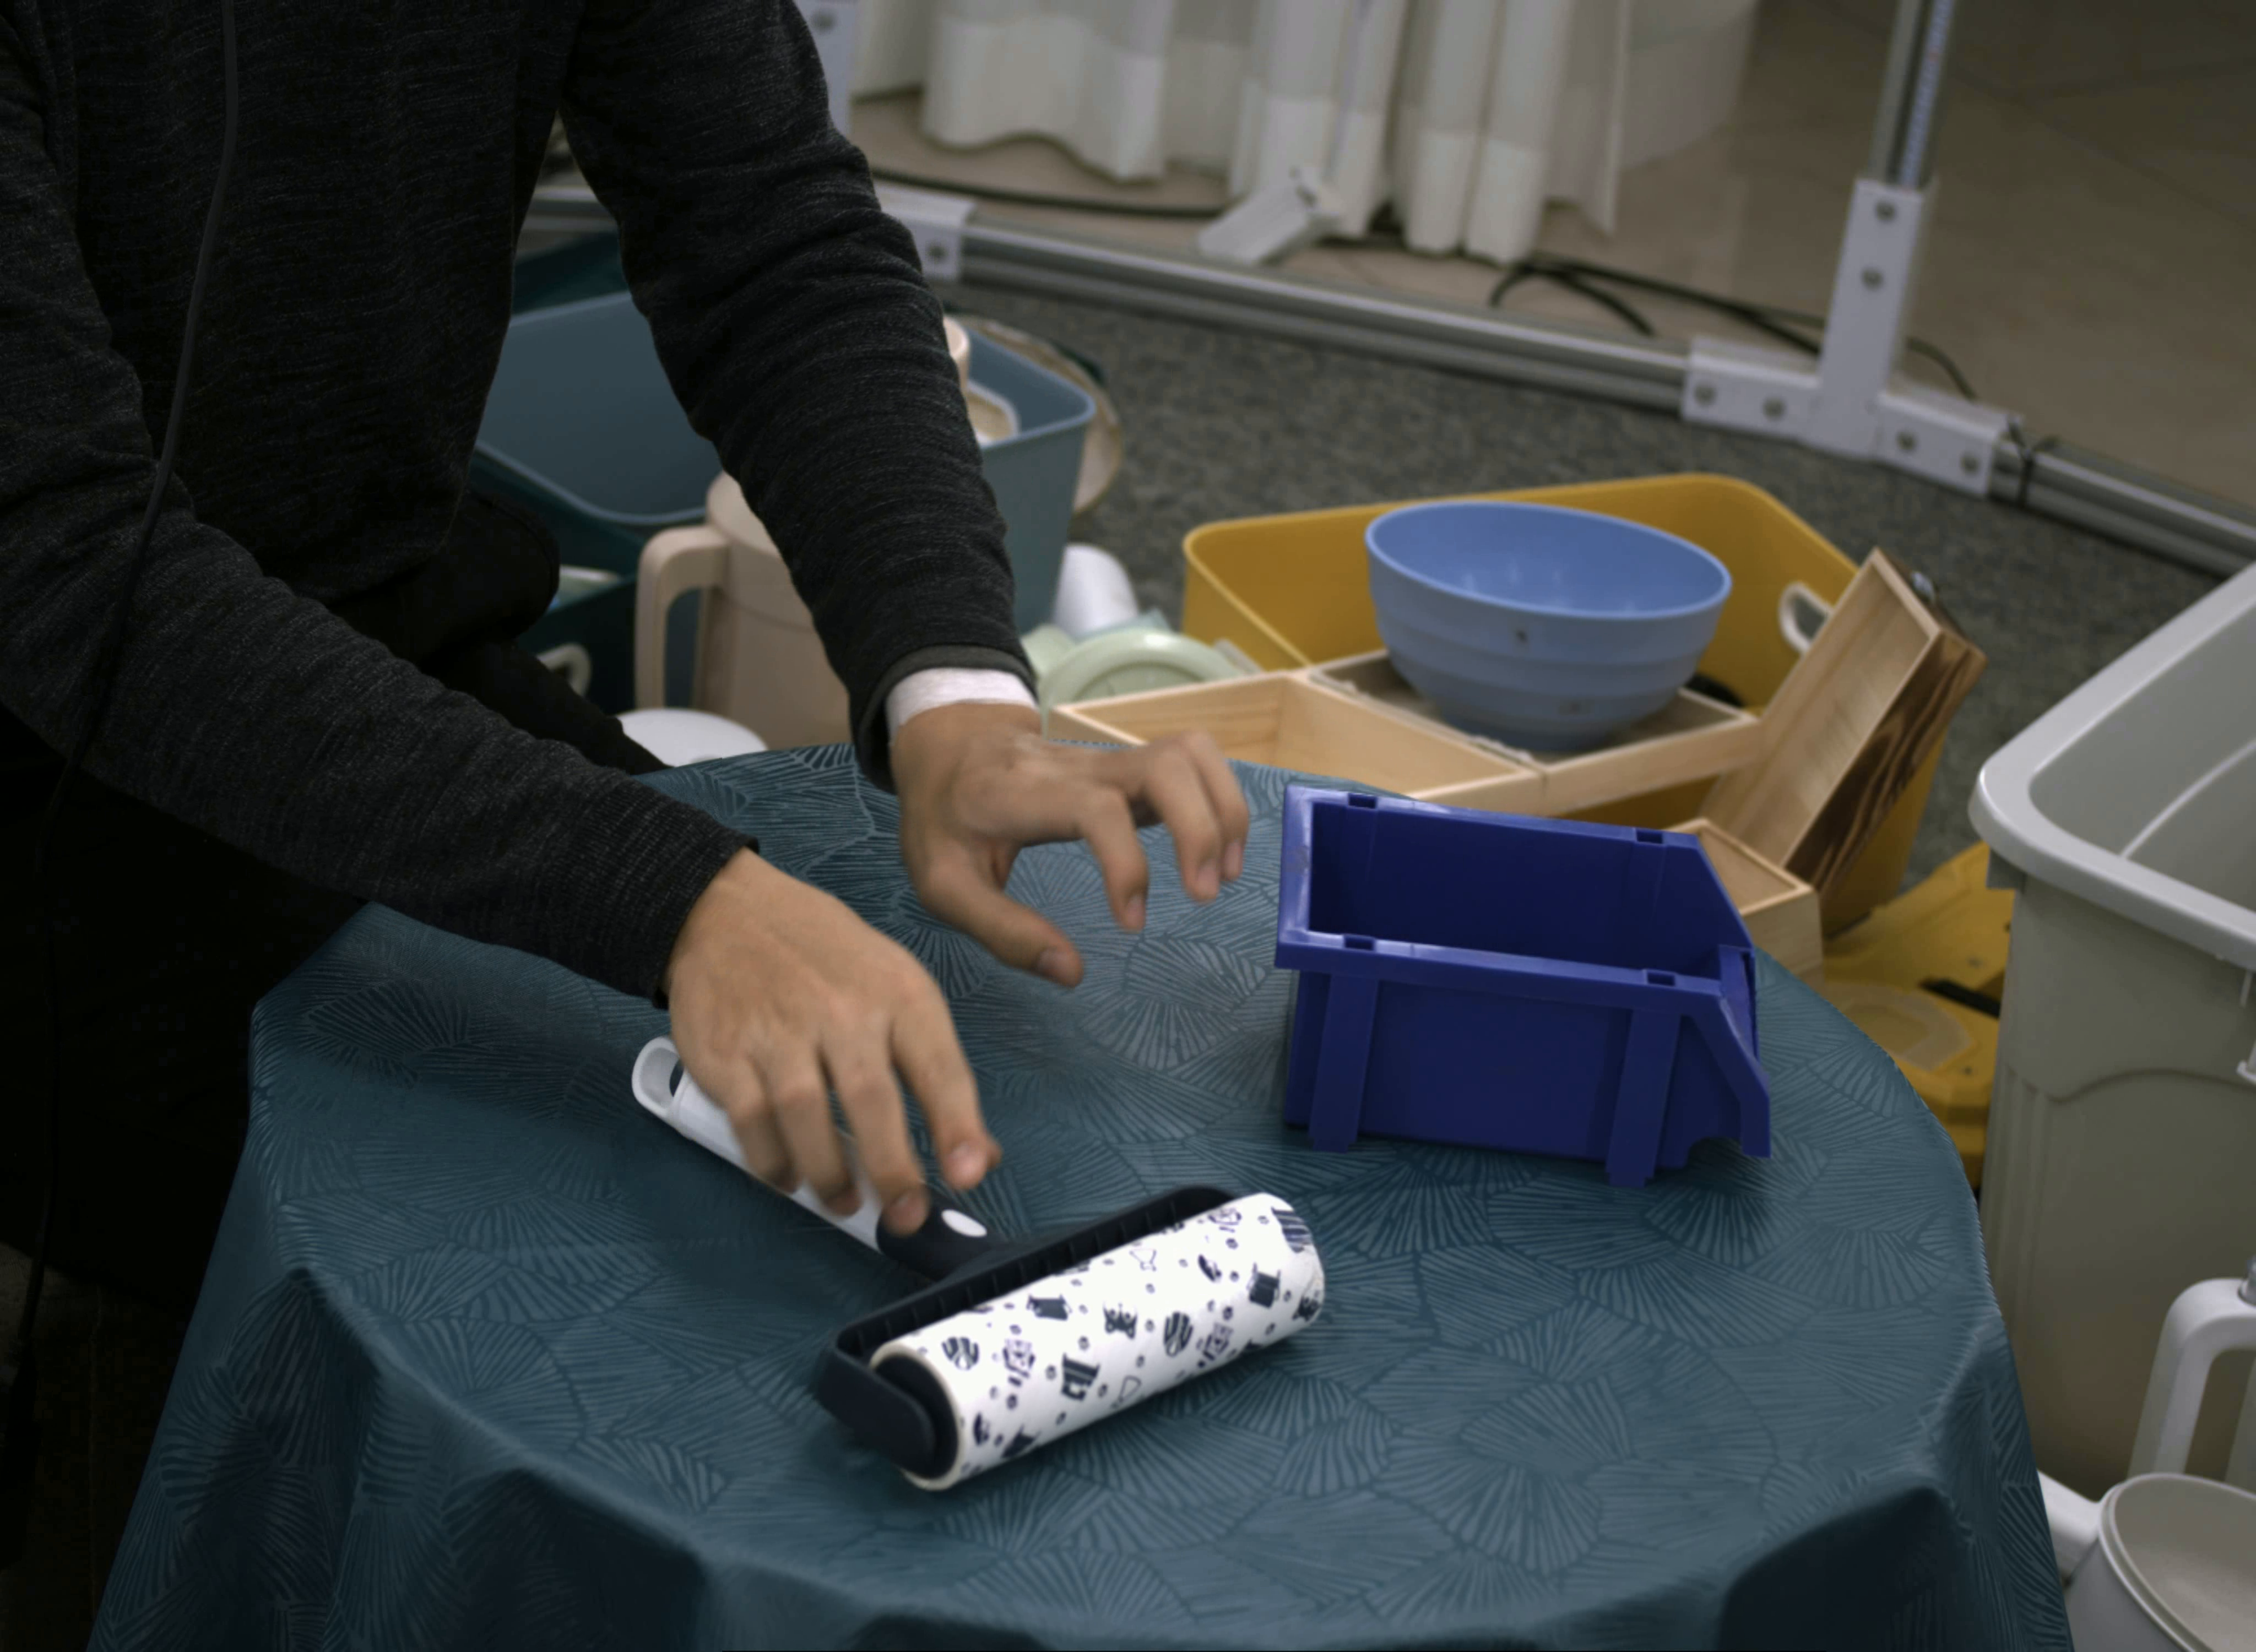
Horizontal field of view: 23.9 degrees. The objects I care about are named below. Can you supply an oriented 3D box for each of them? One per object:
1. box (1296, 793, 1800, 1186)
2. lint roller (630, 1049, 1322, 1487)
[{"bbox_3d":[0.148,0.057,1.875,0.179,0.081,0.125,5,26,3],"label":"box"},{"bbox_3d":[-0.080,0.123,1.737,0.175,0.050,0.249,-20,36,-40],"label":"lint roller"}]
